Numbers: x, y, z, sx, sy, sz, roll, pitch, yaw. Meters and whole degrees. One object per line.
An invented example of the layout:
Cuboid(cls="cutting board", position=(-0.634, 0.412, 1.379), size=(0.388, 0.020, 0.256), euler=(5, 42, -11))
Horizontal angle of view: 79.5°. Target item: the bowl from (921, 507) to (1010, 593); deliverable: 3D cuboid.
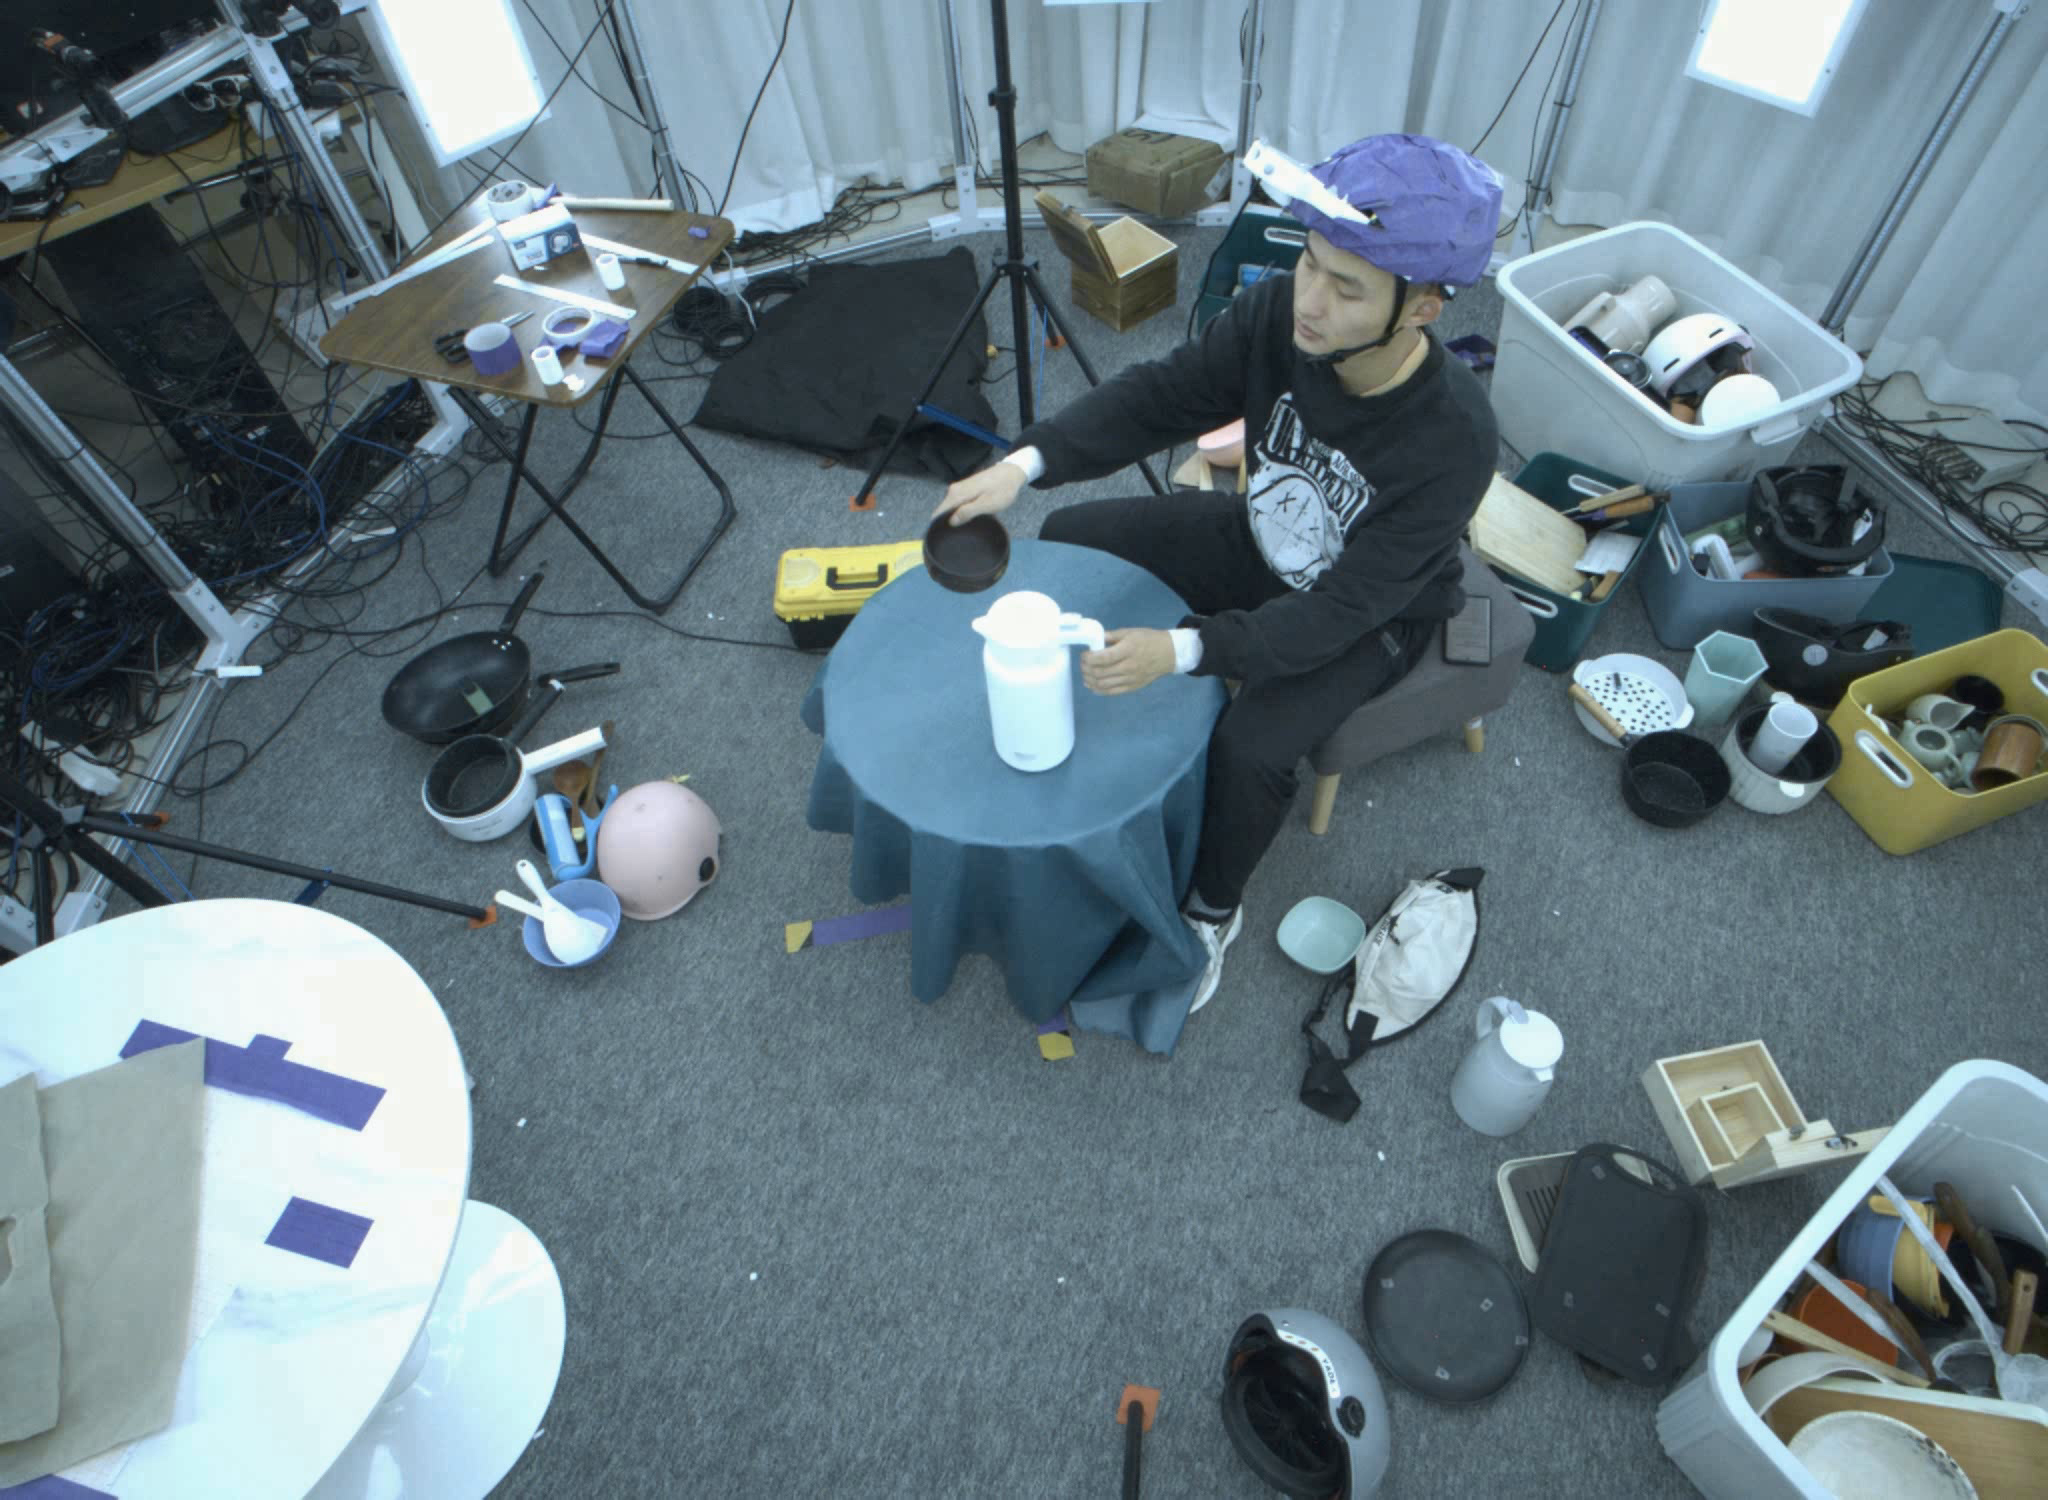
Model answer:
Cuboid(cls="bowl", position=(-0.080, -0.260, 1.638), size=(0.118, 0.070, 0.117), euler=(3, 63, -5))

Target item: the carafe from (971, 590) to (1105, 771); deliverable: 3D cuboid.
Cuboid(cls="carafe", position=(0.025, -0.093, 1.684), size=(0.173, 0.272, 0.122), euler=(-2, 52, 2))
